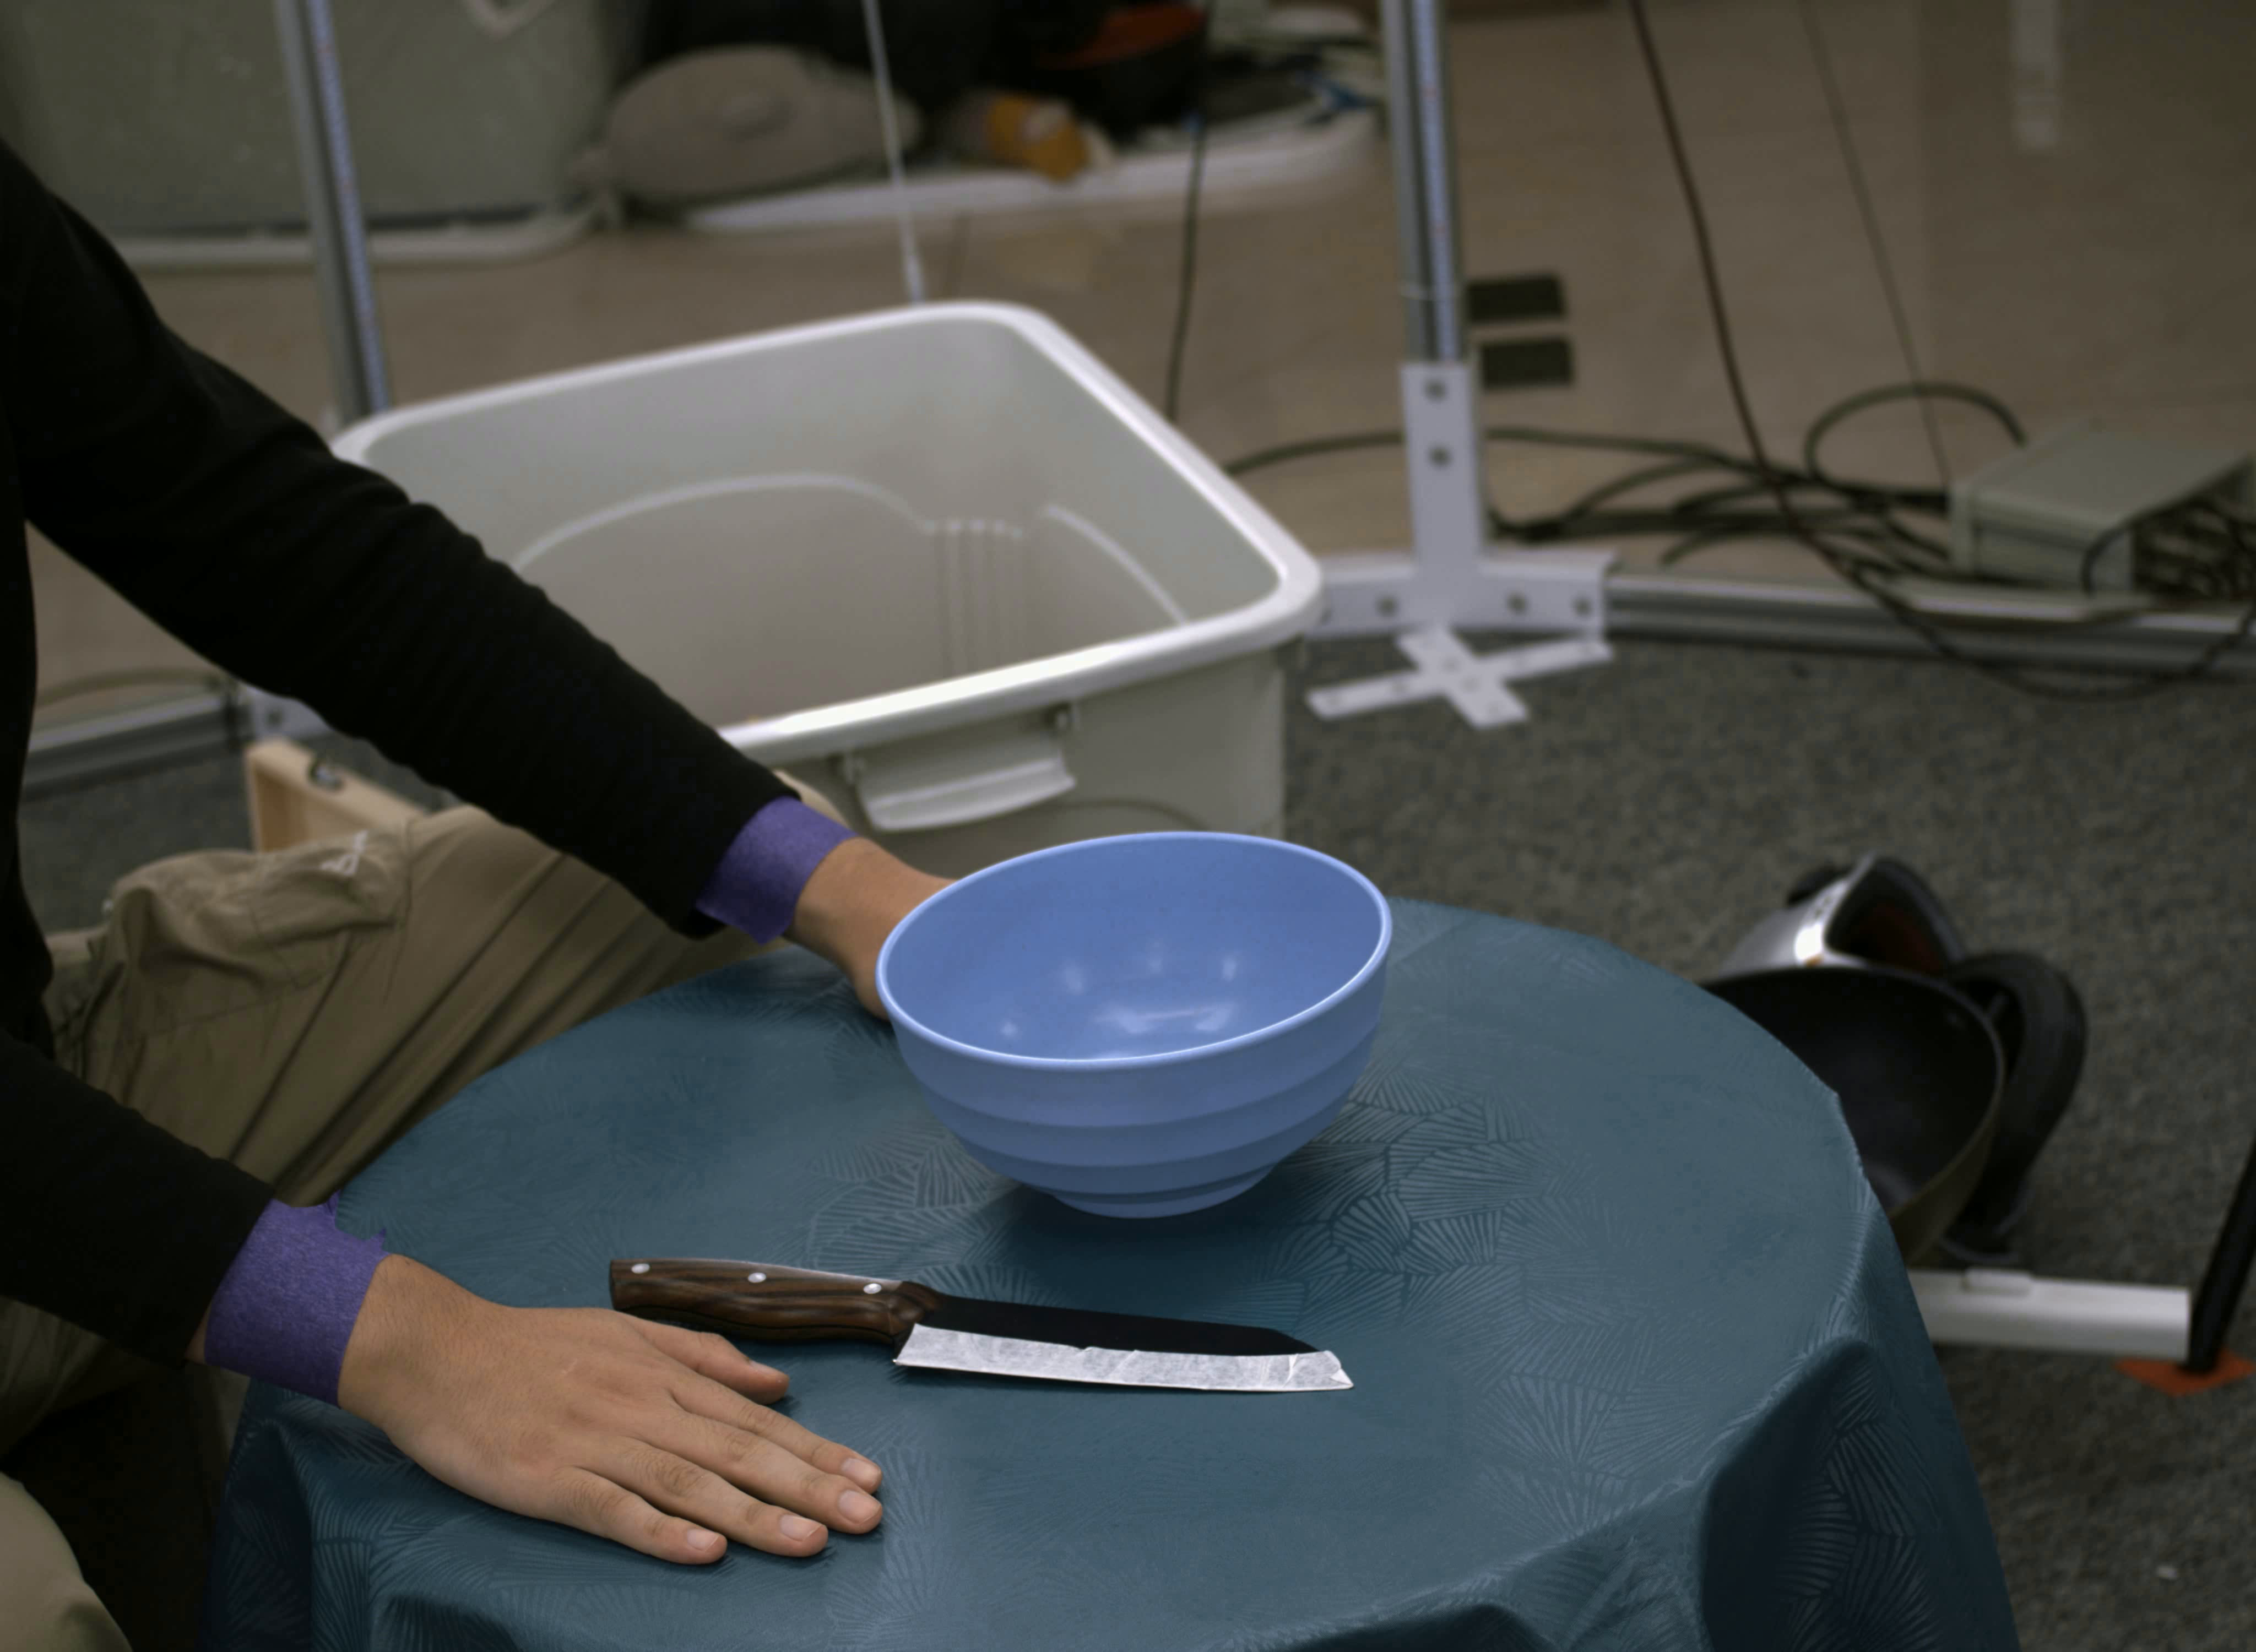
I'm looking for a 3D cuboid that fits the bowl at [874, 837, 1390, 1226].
[{"bbox_3d":[0.007,0.088,2.150,0.196,0.097,0.193,-7,25,3],"label":"bowl"}]

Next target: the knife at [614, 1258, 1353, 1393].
[{"bbox_3d":[-0.056,0.183,2.053,0.288,0.020,0.049,5,32,18],"label":"knife"}]
